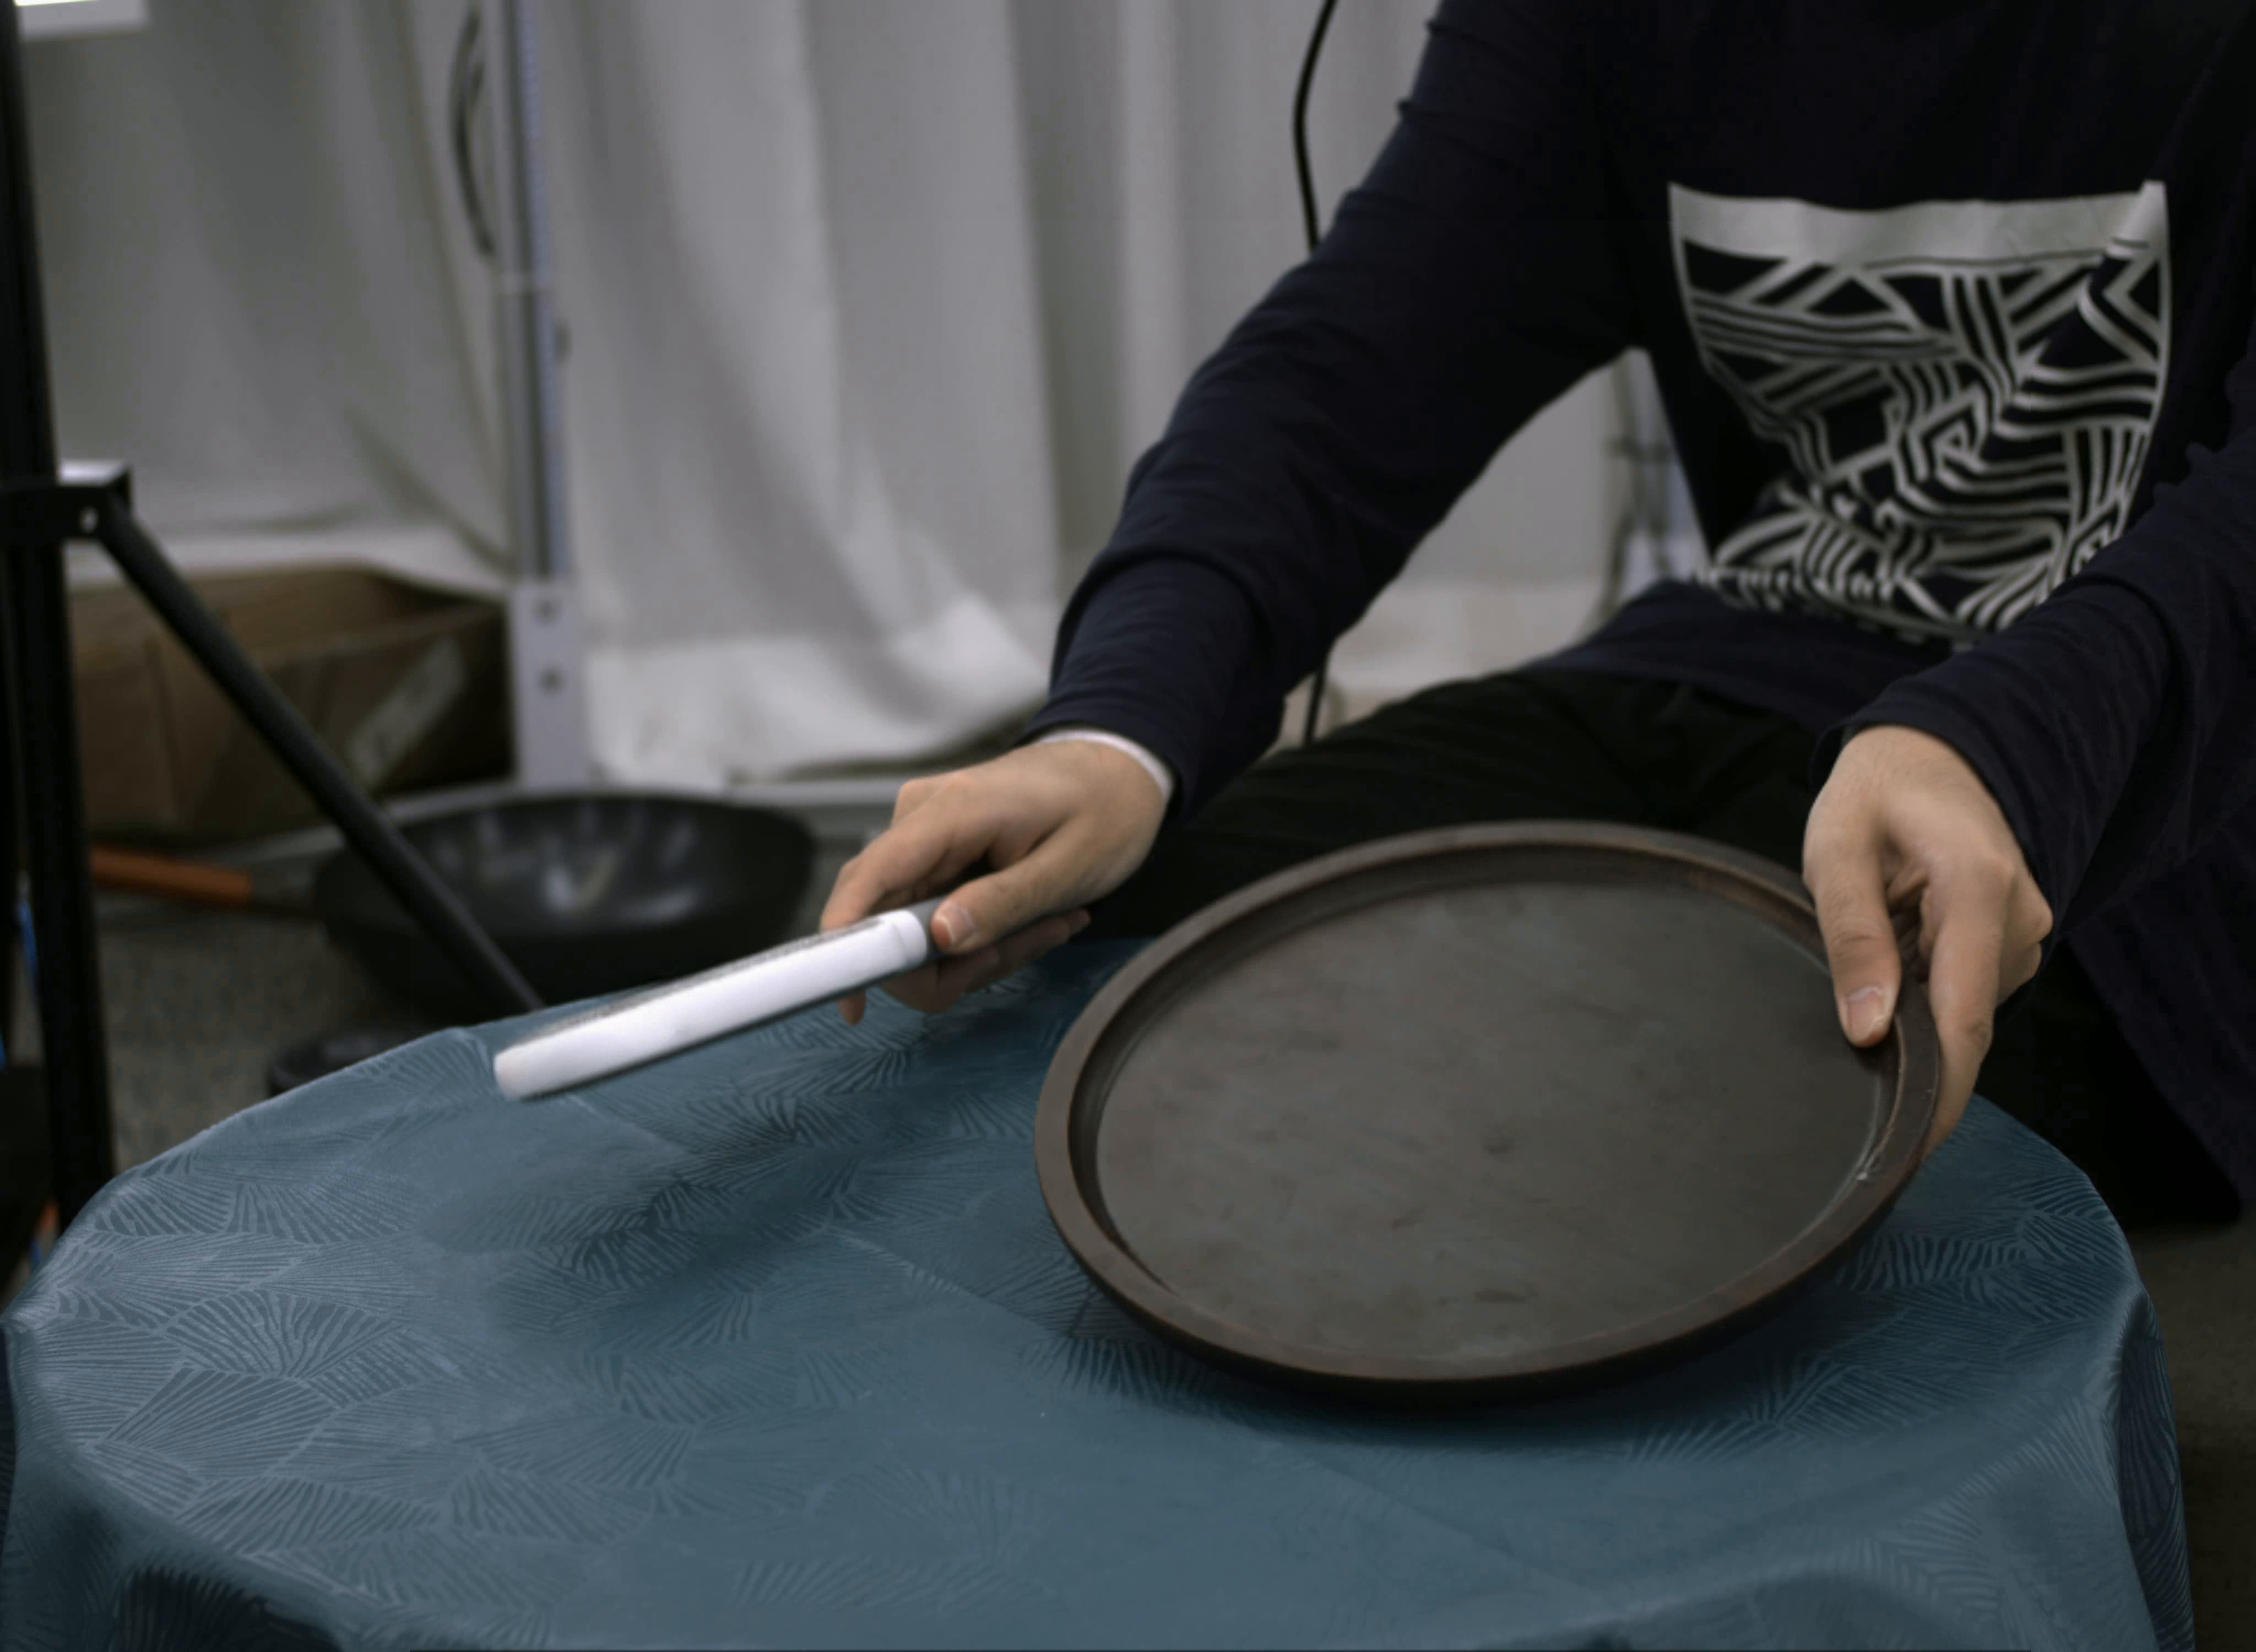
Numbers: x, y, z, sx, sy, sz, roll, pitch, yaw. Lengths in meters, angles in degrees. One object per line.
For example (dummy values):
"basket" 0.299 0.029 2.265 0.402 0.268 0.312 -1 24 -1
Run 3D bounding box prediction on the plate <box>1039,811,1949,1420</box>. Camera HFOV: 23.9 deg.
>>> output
"plate" 0.101 0.077 1.470 0.254 0.029 0.257 -7 36 4

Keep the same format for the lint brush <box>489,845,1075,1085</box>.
"lint brush" -0.096 0.039 1.634 0.061 0.021 0.303 -22 -2 30
